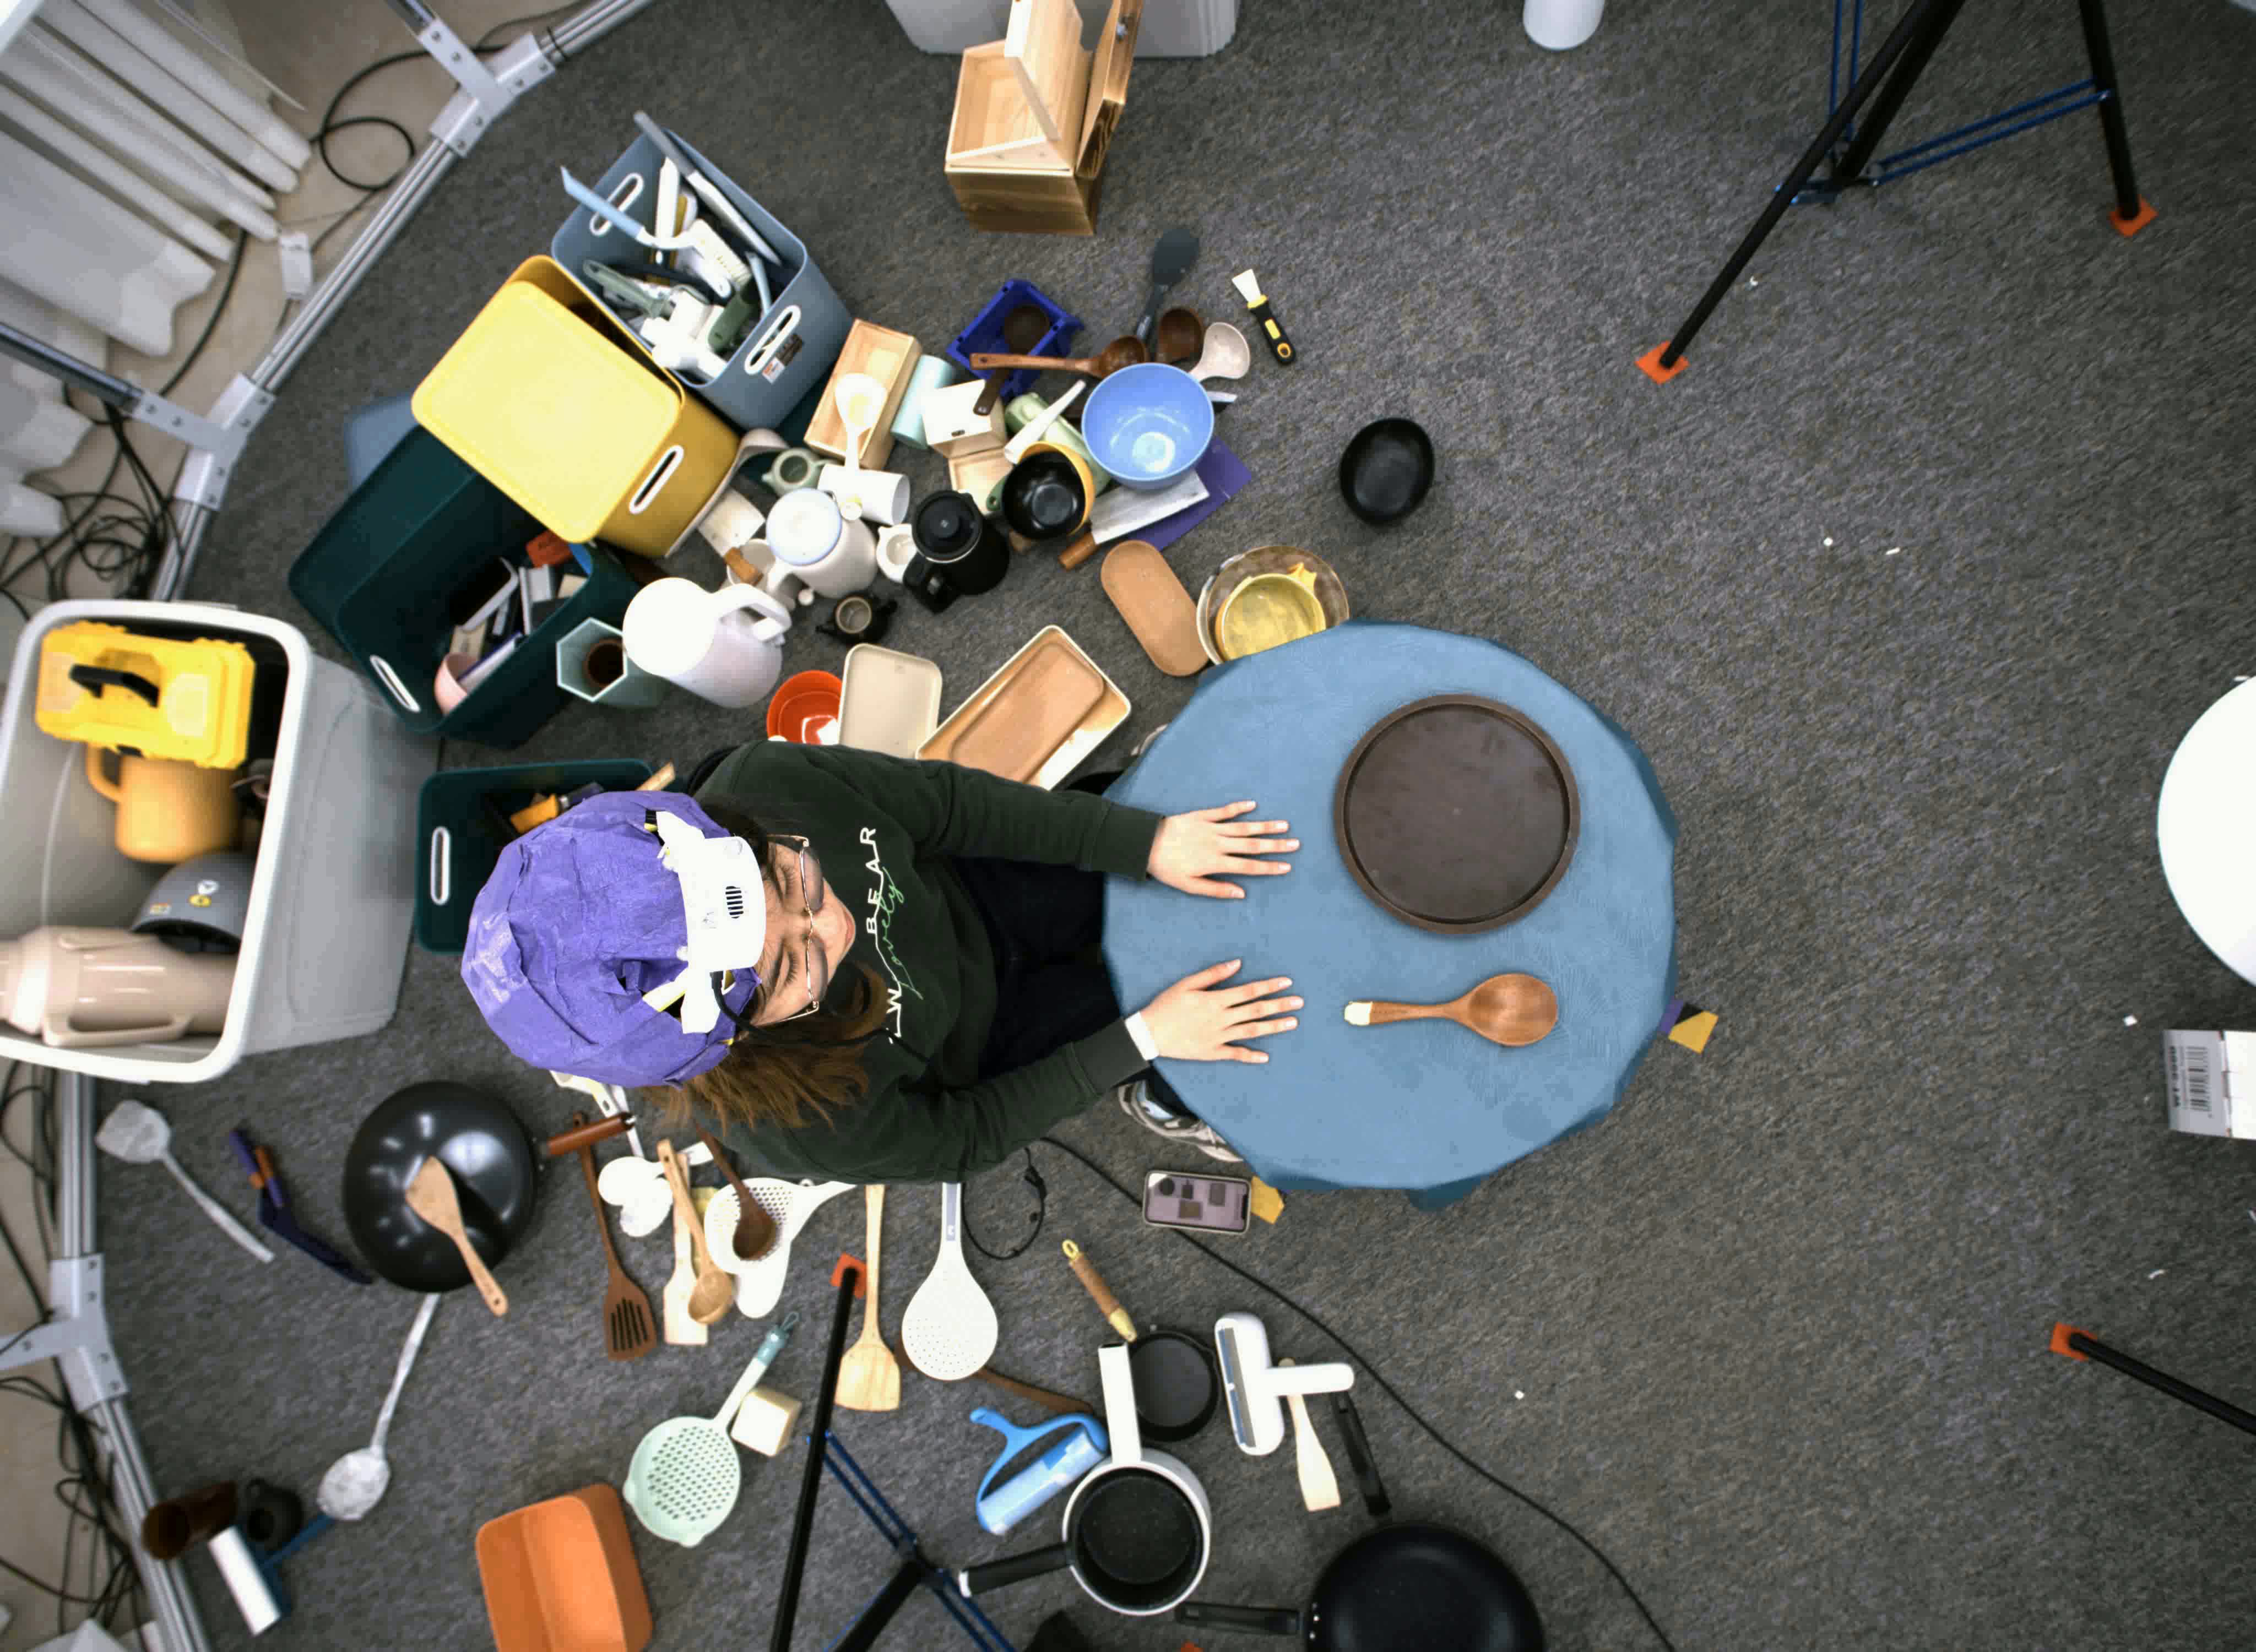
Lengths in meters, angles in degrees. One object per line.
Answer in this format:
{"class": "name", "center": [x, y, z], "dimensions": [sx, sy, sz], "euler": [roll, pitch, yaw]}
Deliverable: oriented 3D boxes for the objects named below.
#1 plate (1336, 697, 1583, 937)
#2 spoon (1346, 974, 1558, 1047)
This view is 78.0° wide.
{"class": "plate", "center": [0.346, -0.011, 1.445], "dimensions": [0.256, 0.029, 0.253], "euler": [-1, 85, 9]}
{"class": "spoon", "center": [0.336, 0.192, 1.436], "dimensions": [0.217, 0.017, 0.075], "euler": [-3, 86, 10]}
